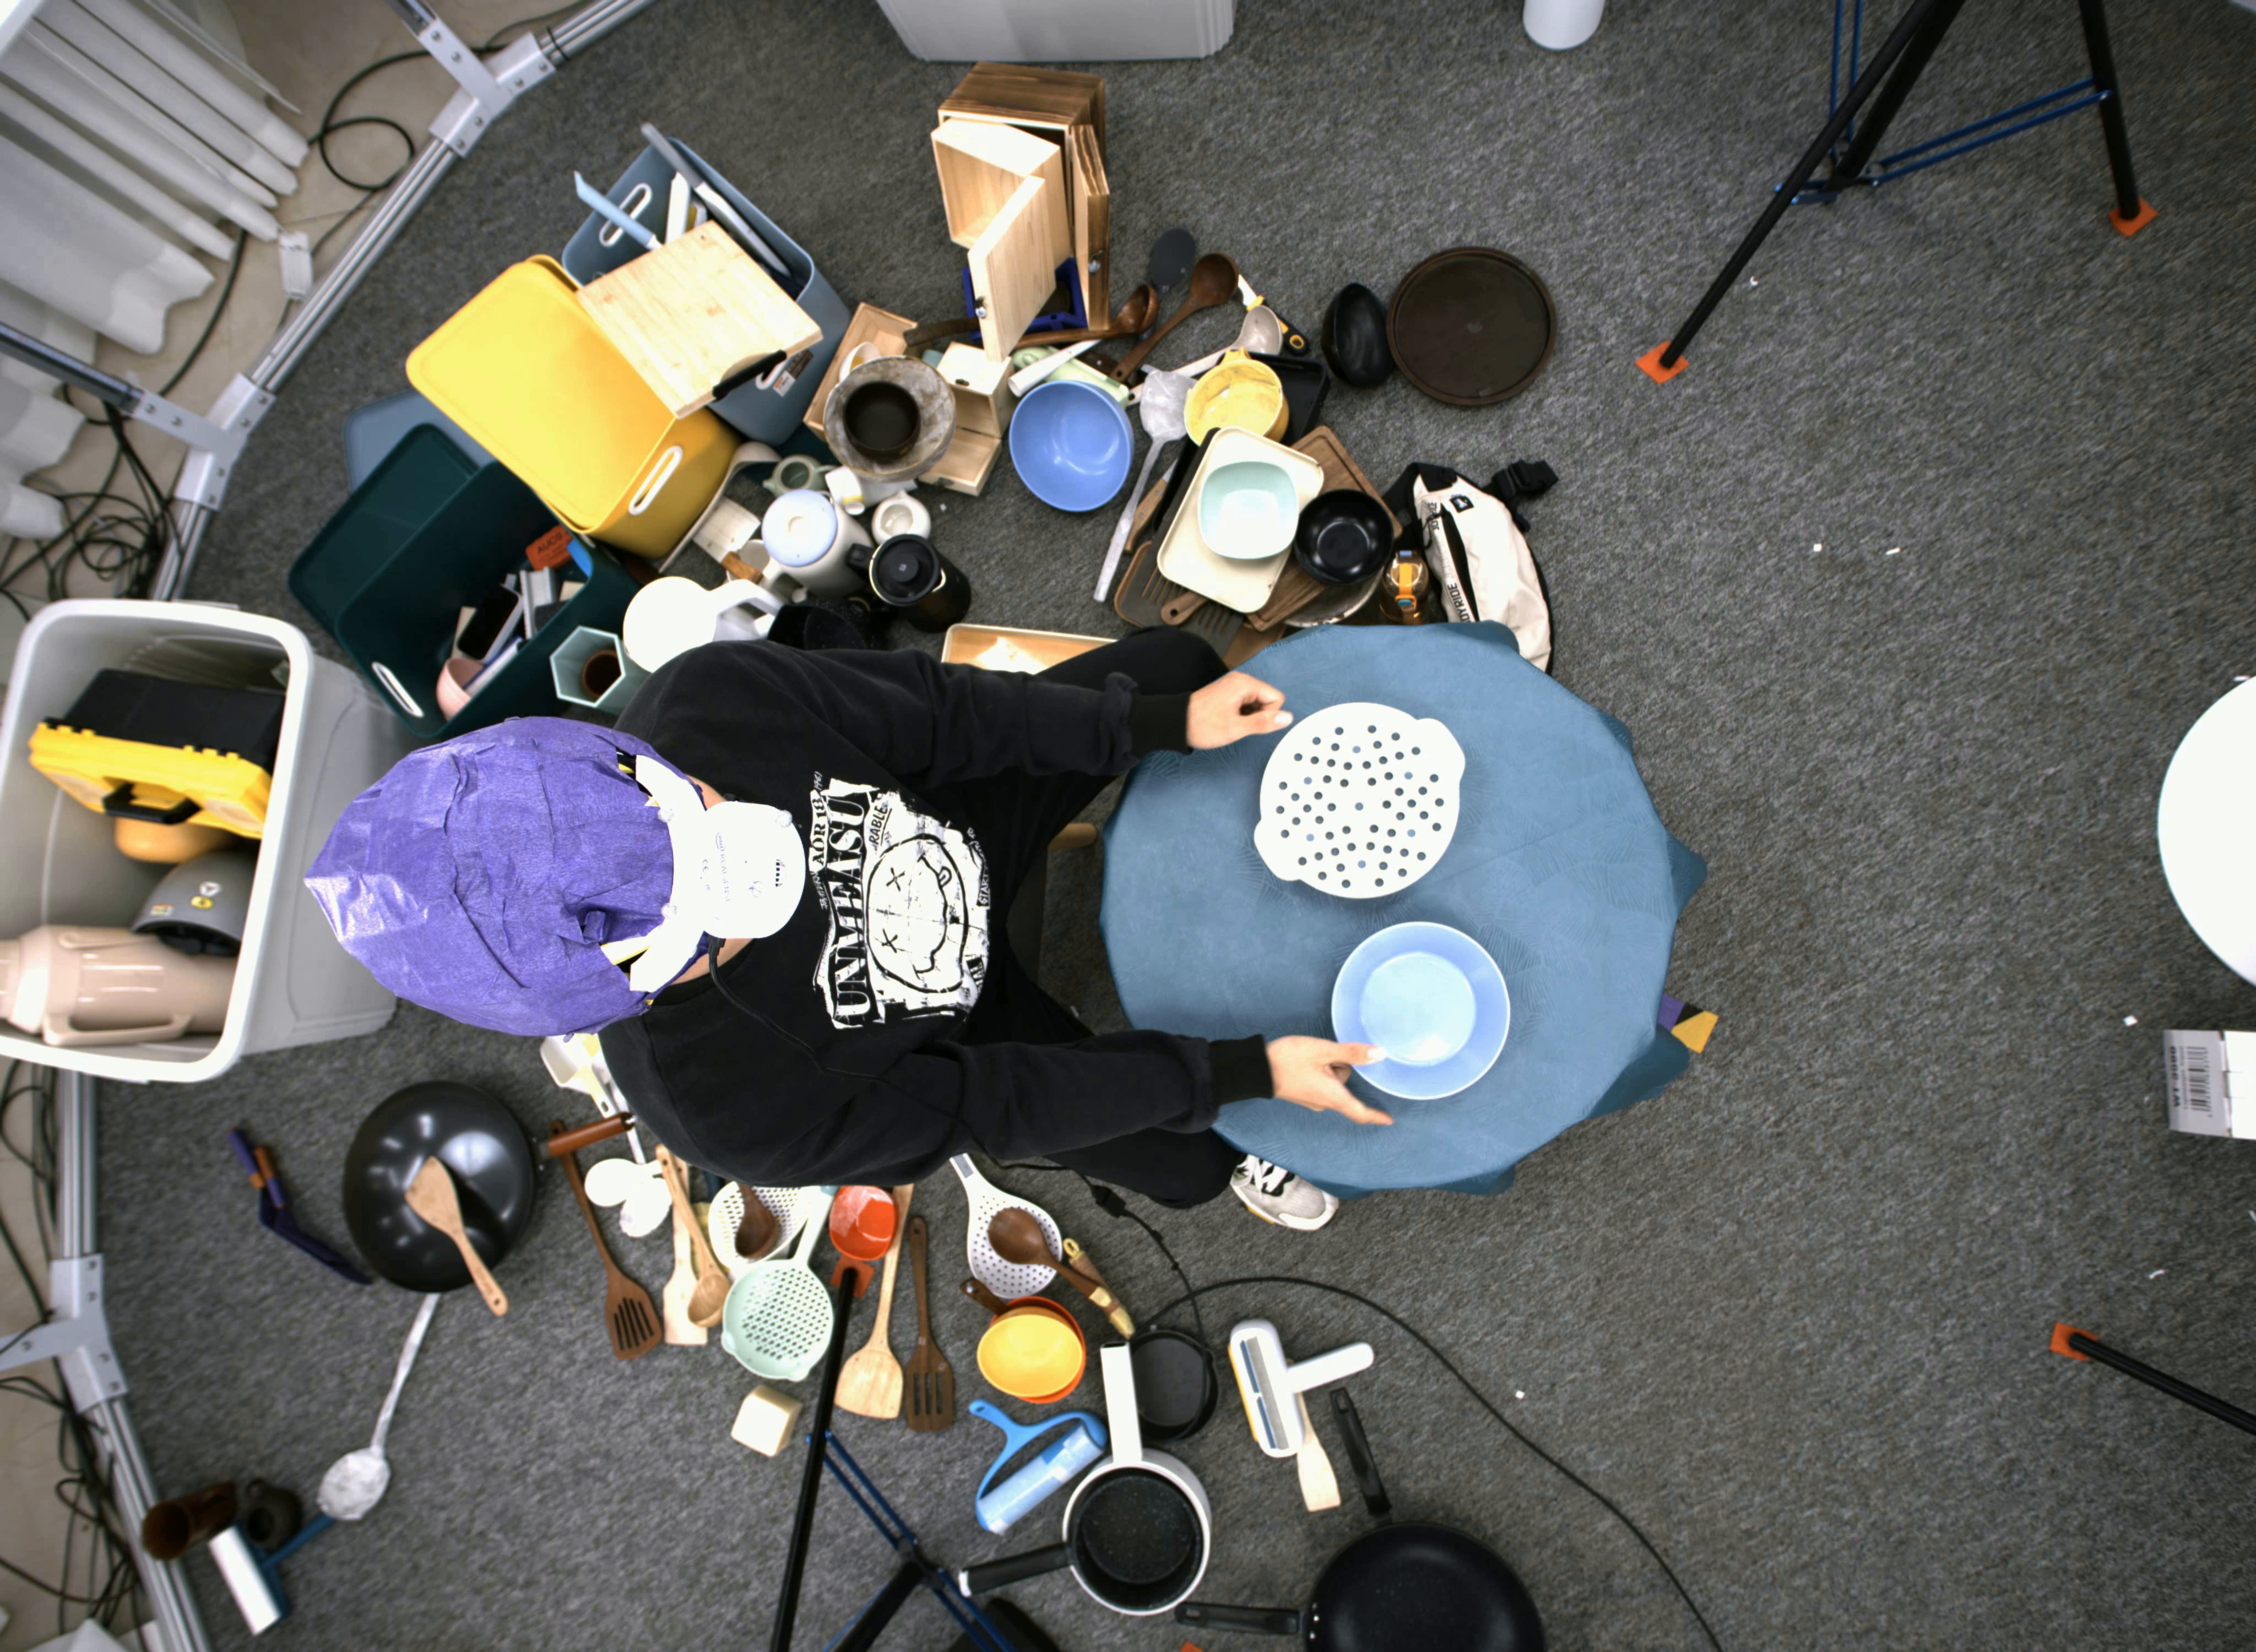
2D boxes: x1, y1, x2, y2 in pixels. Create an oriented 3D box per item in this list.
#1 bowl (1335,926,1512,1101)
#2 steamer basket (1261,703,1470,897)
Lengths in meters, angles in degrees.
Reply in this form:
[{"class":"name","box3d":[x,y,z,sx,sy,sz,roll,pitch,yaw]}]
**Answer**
[{"class":"bowl","box3d":[0.301,0.190,1.415,0.177,0.070,0.175,-1,84,11]},{"class":"steamer basket","box3d":[0.247,-0.026,1.441,0.231,0.069,0.200,-33,81,4]}]
